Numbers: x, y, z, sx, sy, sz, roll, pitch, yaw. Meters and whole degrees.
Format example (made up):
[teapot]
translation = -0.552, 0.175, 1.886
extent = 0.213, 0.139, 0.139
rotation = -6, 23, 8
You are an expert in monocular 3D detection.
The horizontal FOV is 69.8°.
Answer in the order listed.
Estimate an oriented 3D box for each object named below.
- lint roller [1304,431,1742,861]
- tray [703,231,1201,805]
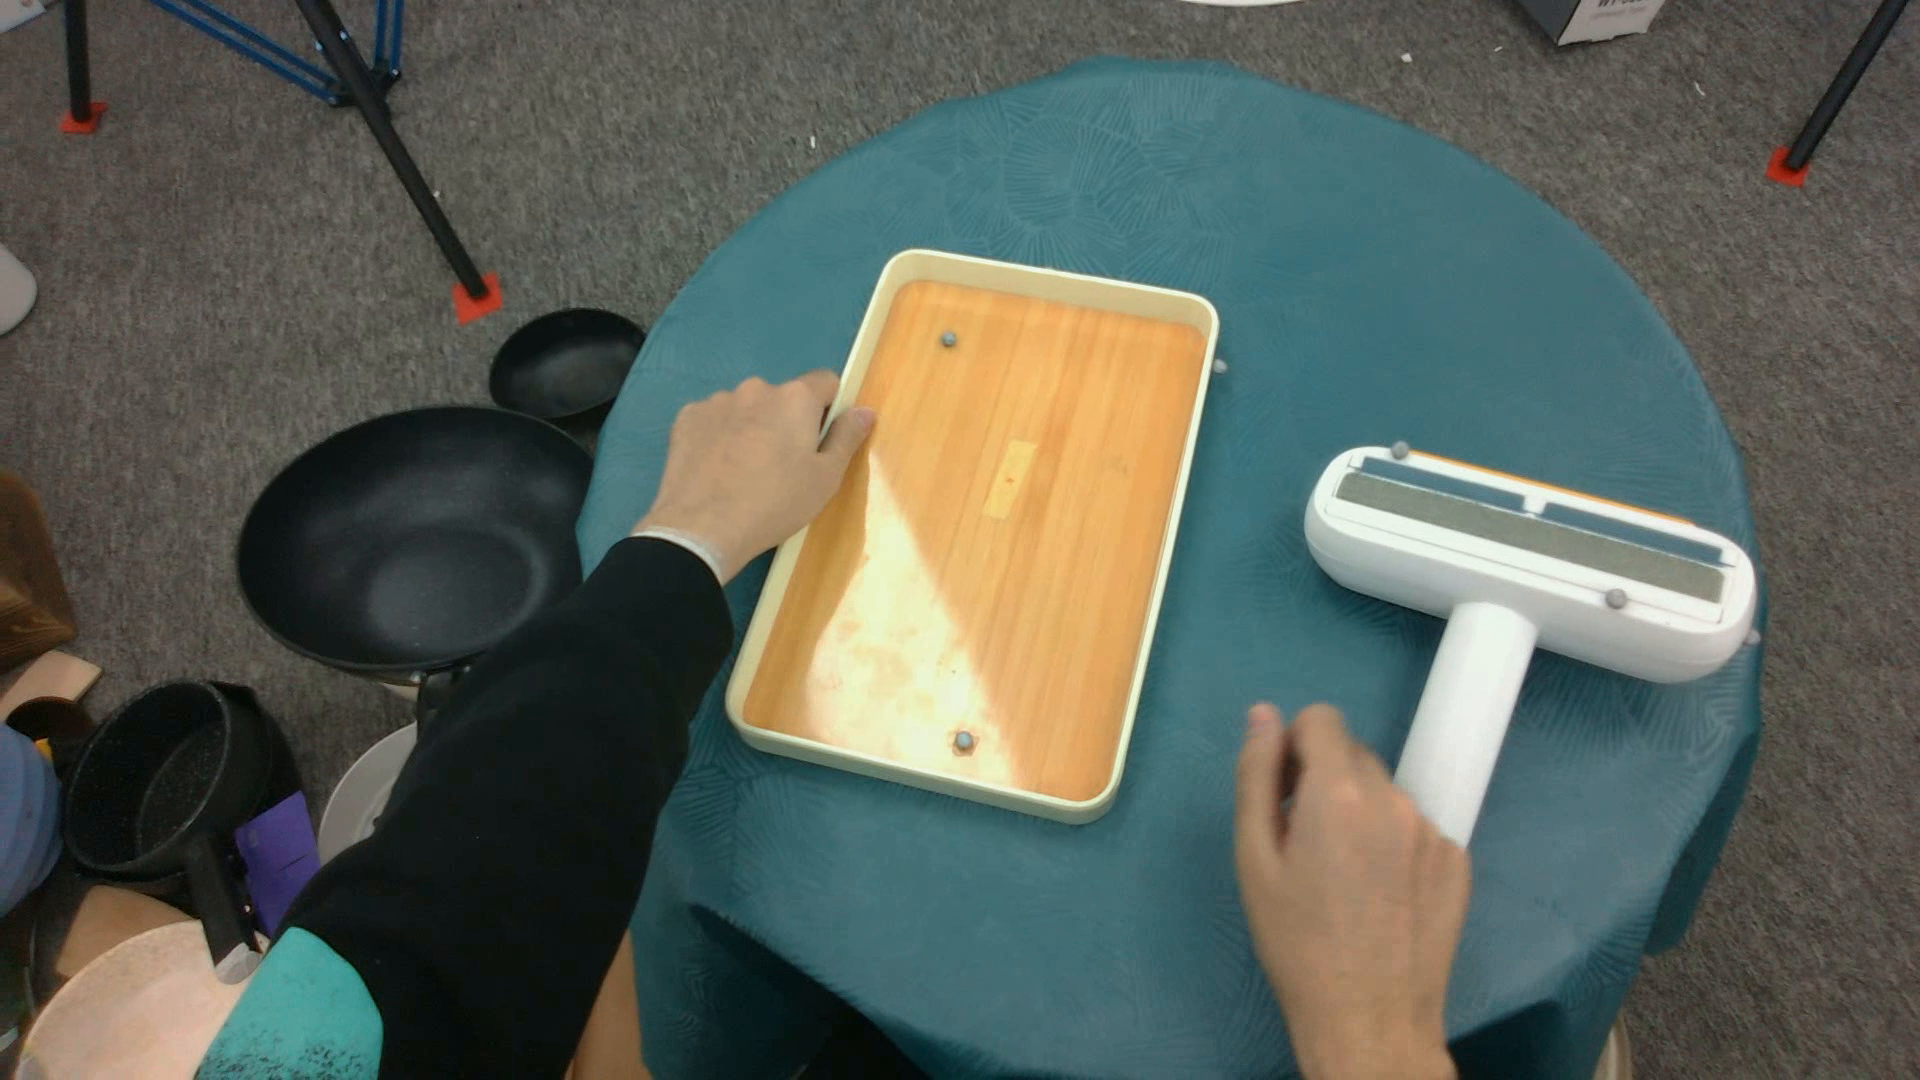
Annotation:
[lint roller]
translation = 0.227, 0.052, 0.624
extent = 0.193, 0.074, 0.193
rotation = 24, 66, 21
[tray]
translation = 0.005, -0.026, 0.703
extent = 0.191, 0.027, 0.301
rotation = 11, 62, 10
